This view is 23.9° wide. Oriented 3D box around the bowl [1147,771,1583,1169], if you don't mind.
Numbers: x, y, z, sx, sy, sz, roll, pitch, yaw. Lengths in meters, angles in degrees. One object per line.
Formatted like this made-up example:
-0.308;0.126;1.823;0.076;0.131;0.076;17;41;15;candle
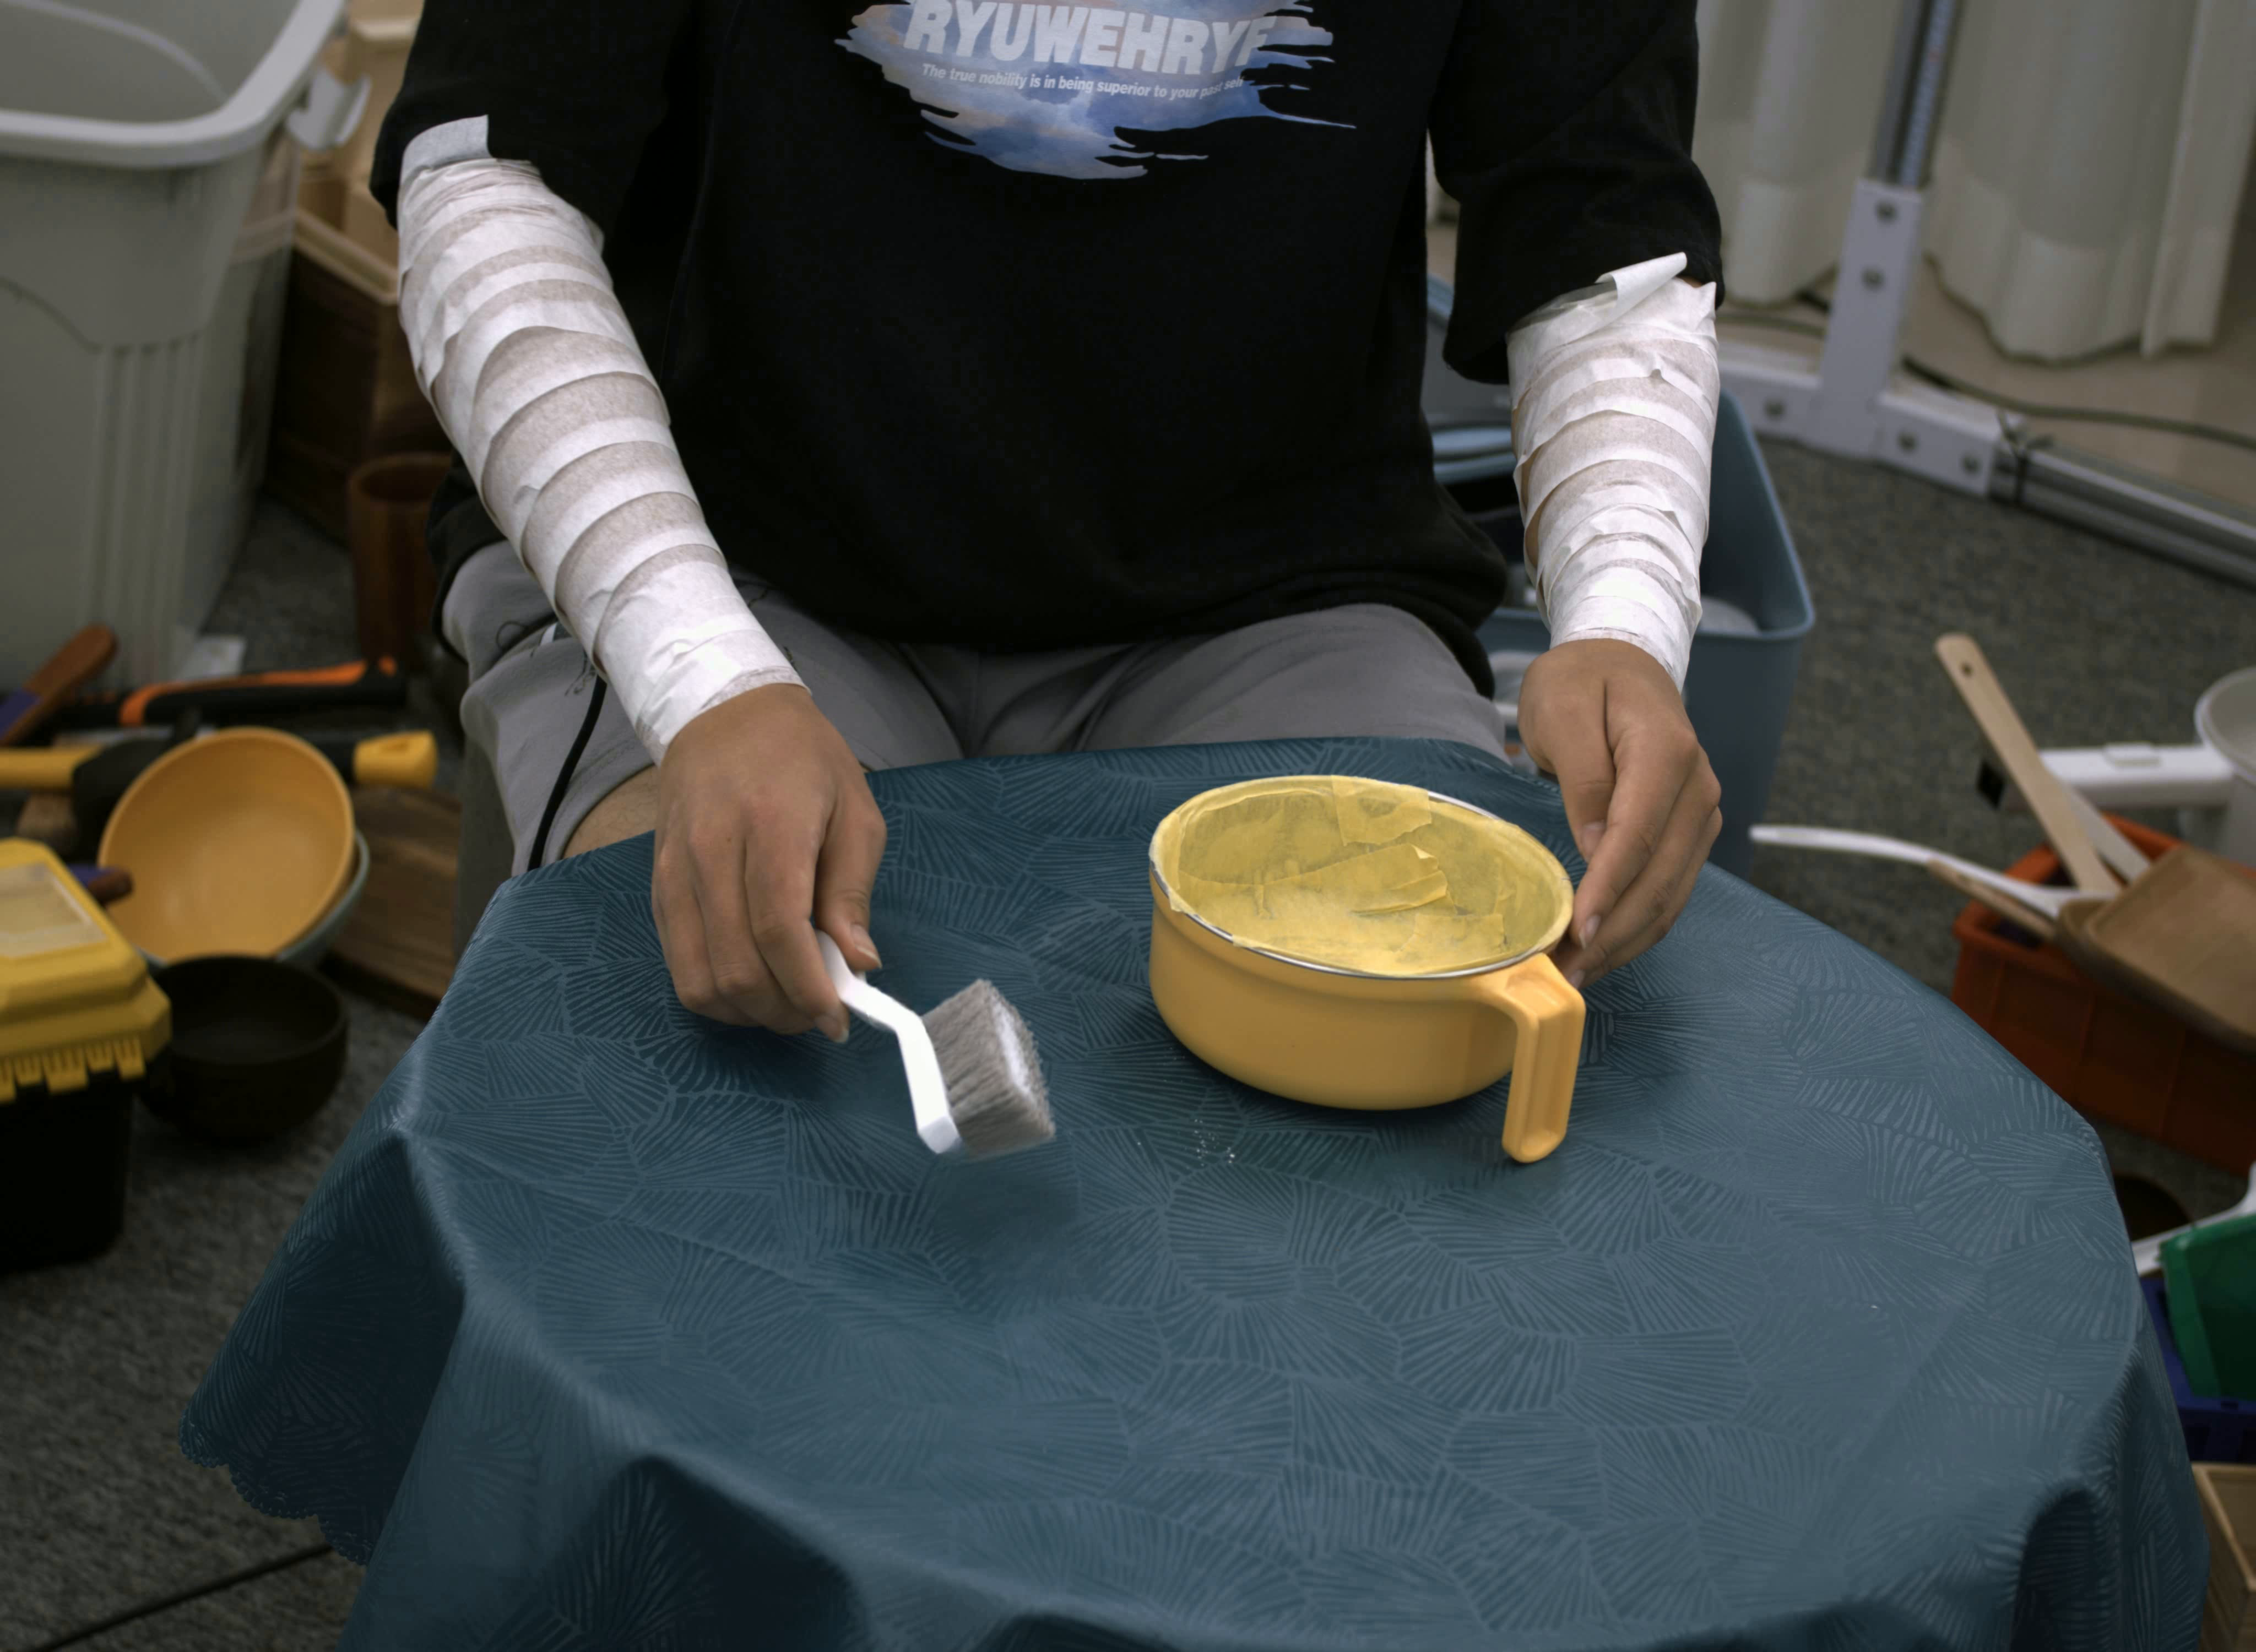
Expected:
0.087;0.051;1.893;0.152;0.074;0.180;-14;34;-42;bowl

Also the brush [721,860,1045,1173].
-0.085;0.050;1.836;0.034;0.050;0.245;44;1;-31;brush
